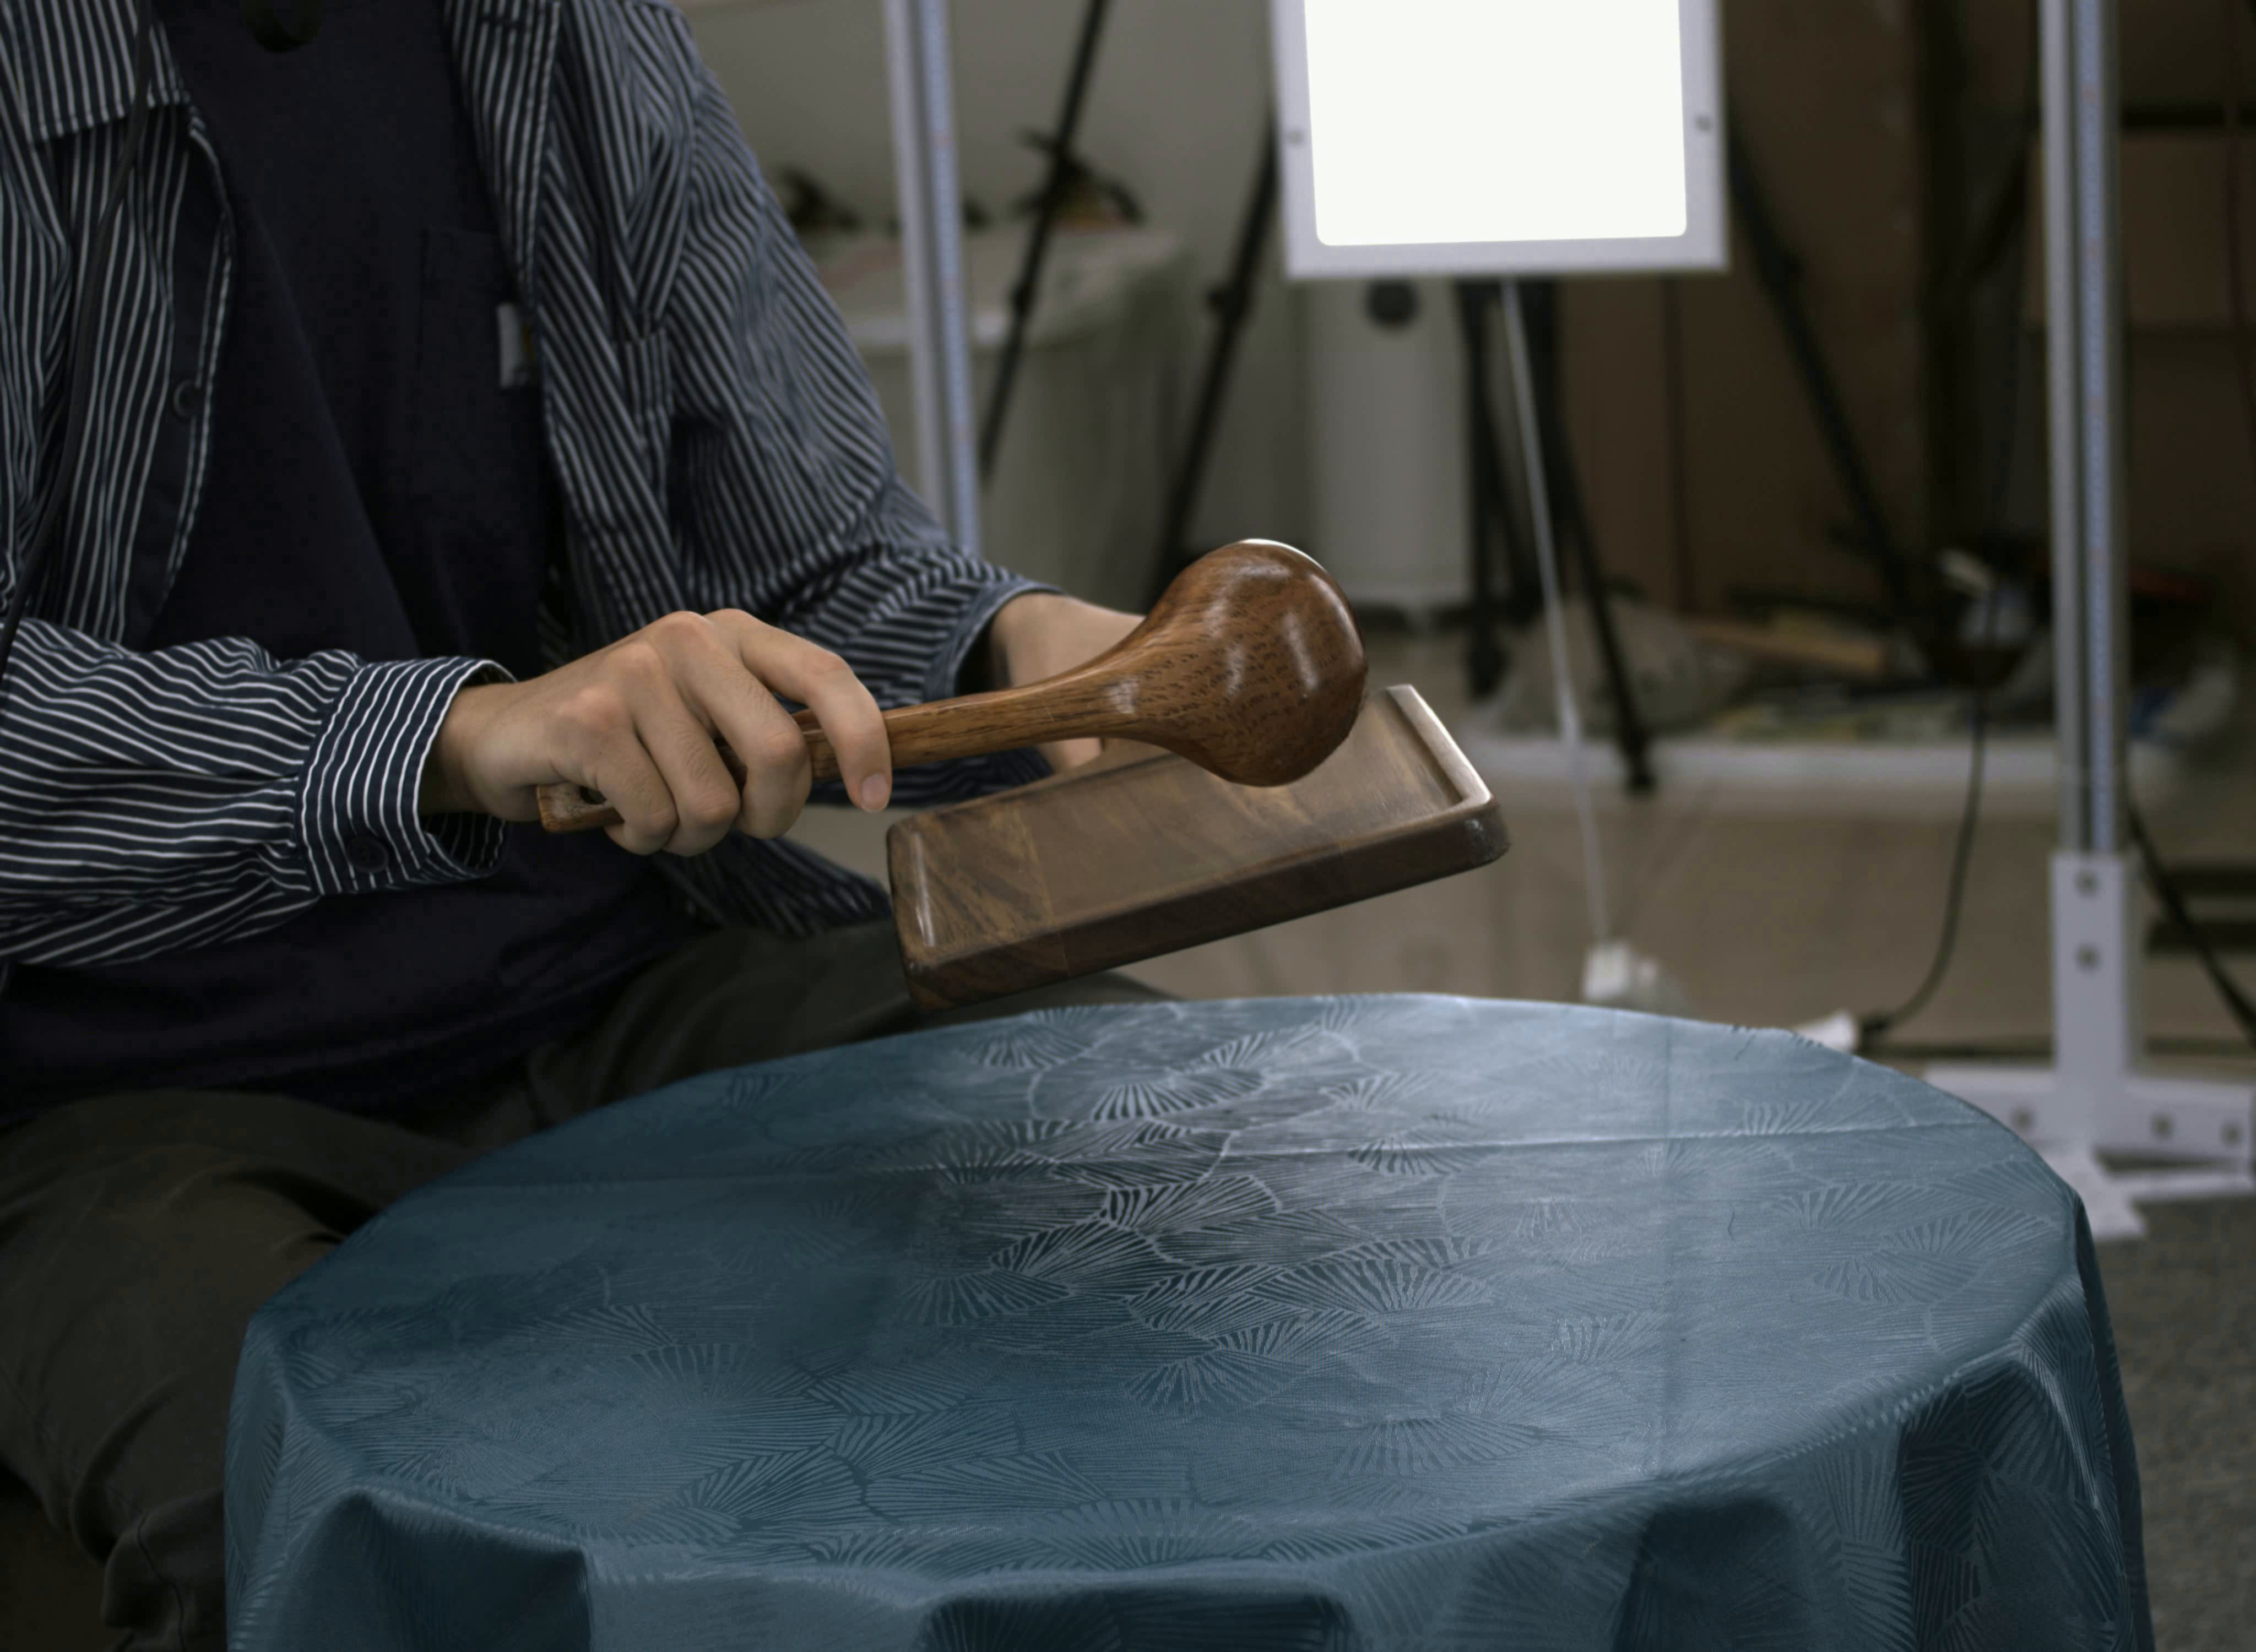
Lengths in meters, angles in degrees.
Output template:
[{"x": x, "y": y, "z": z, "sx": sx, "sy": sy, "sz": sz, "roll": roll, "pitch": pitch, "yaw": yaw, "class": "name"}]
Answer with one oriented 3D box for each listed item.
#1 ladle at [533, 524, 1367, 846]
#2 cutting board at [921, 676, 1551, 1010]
[{"x": -0.057, "y": -0.036, "z": 1.805, "sx": 0.277, "sy": 0.082, "sz": 0.075, "roll": -12, "pitch": -3, "yaw": 16, "class": "ladle"}, {"x": 0.028, "y": -0.007, "z": 1.889, "sx": 0.201, "sy": 0.023, "sz": 0.352, "roll": -16, "pitch": 11, "yaw": 1, "class": "cutting board"}]
